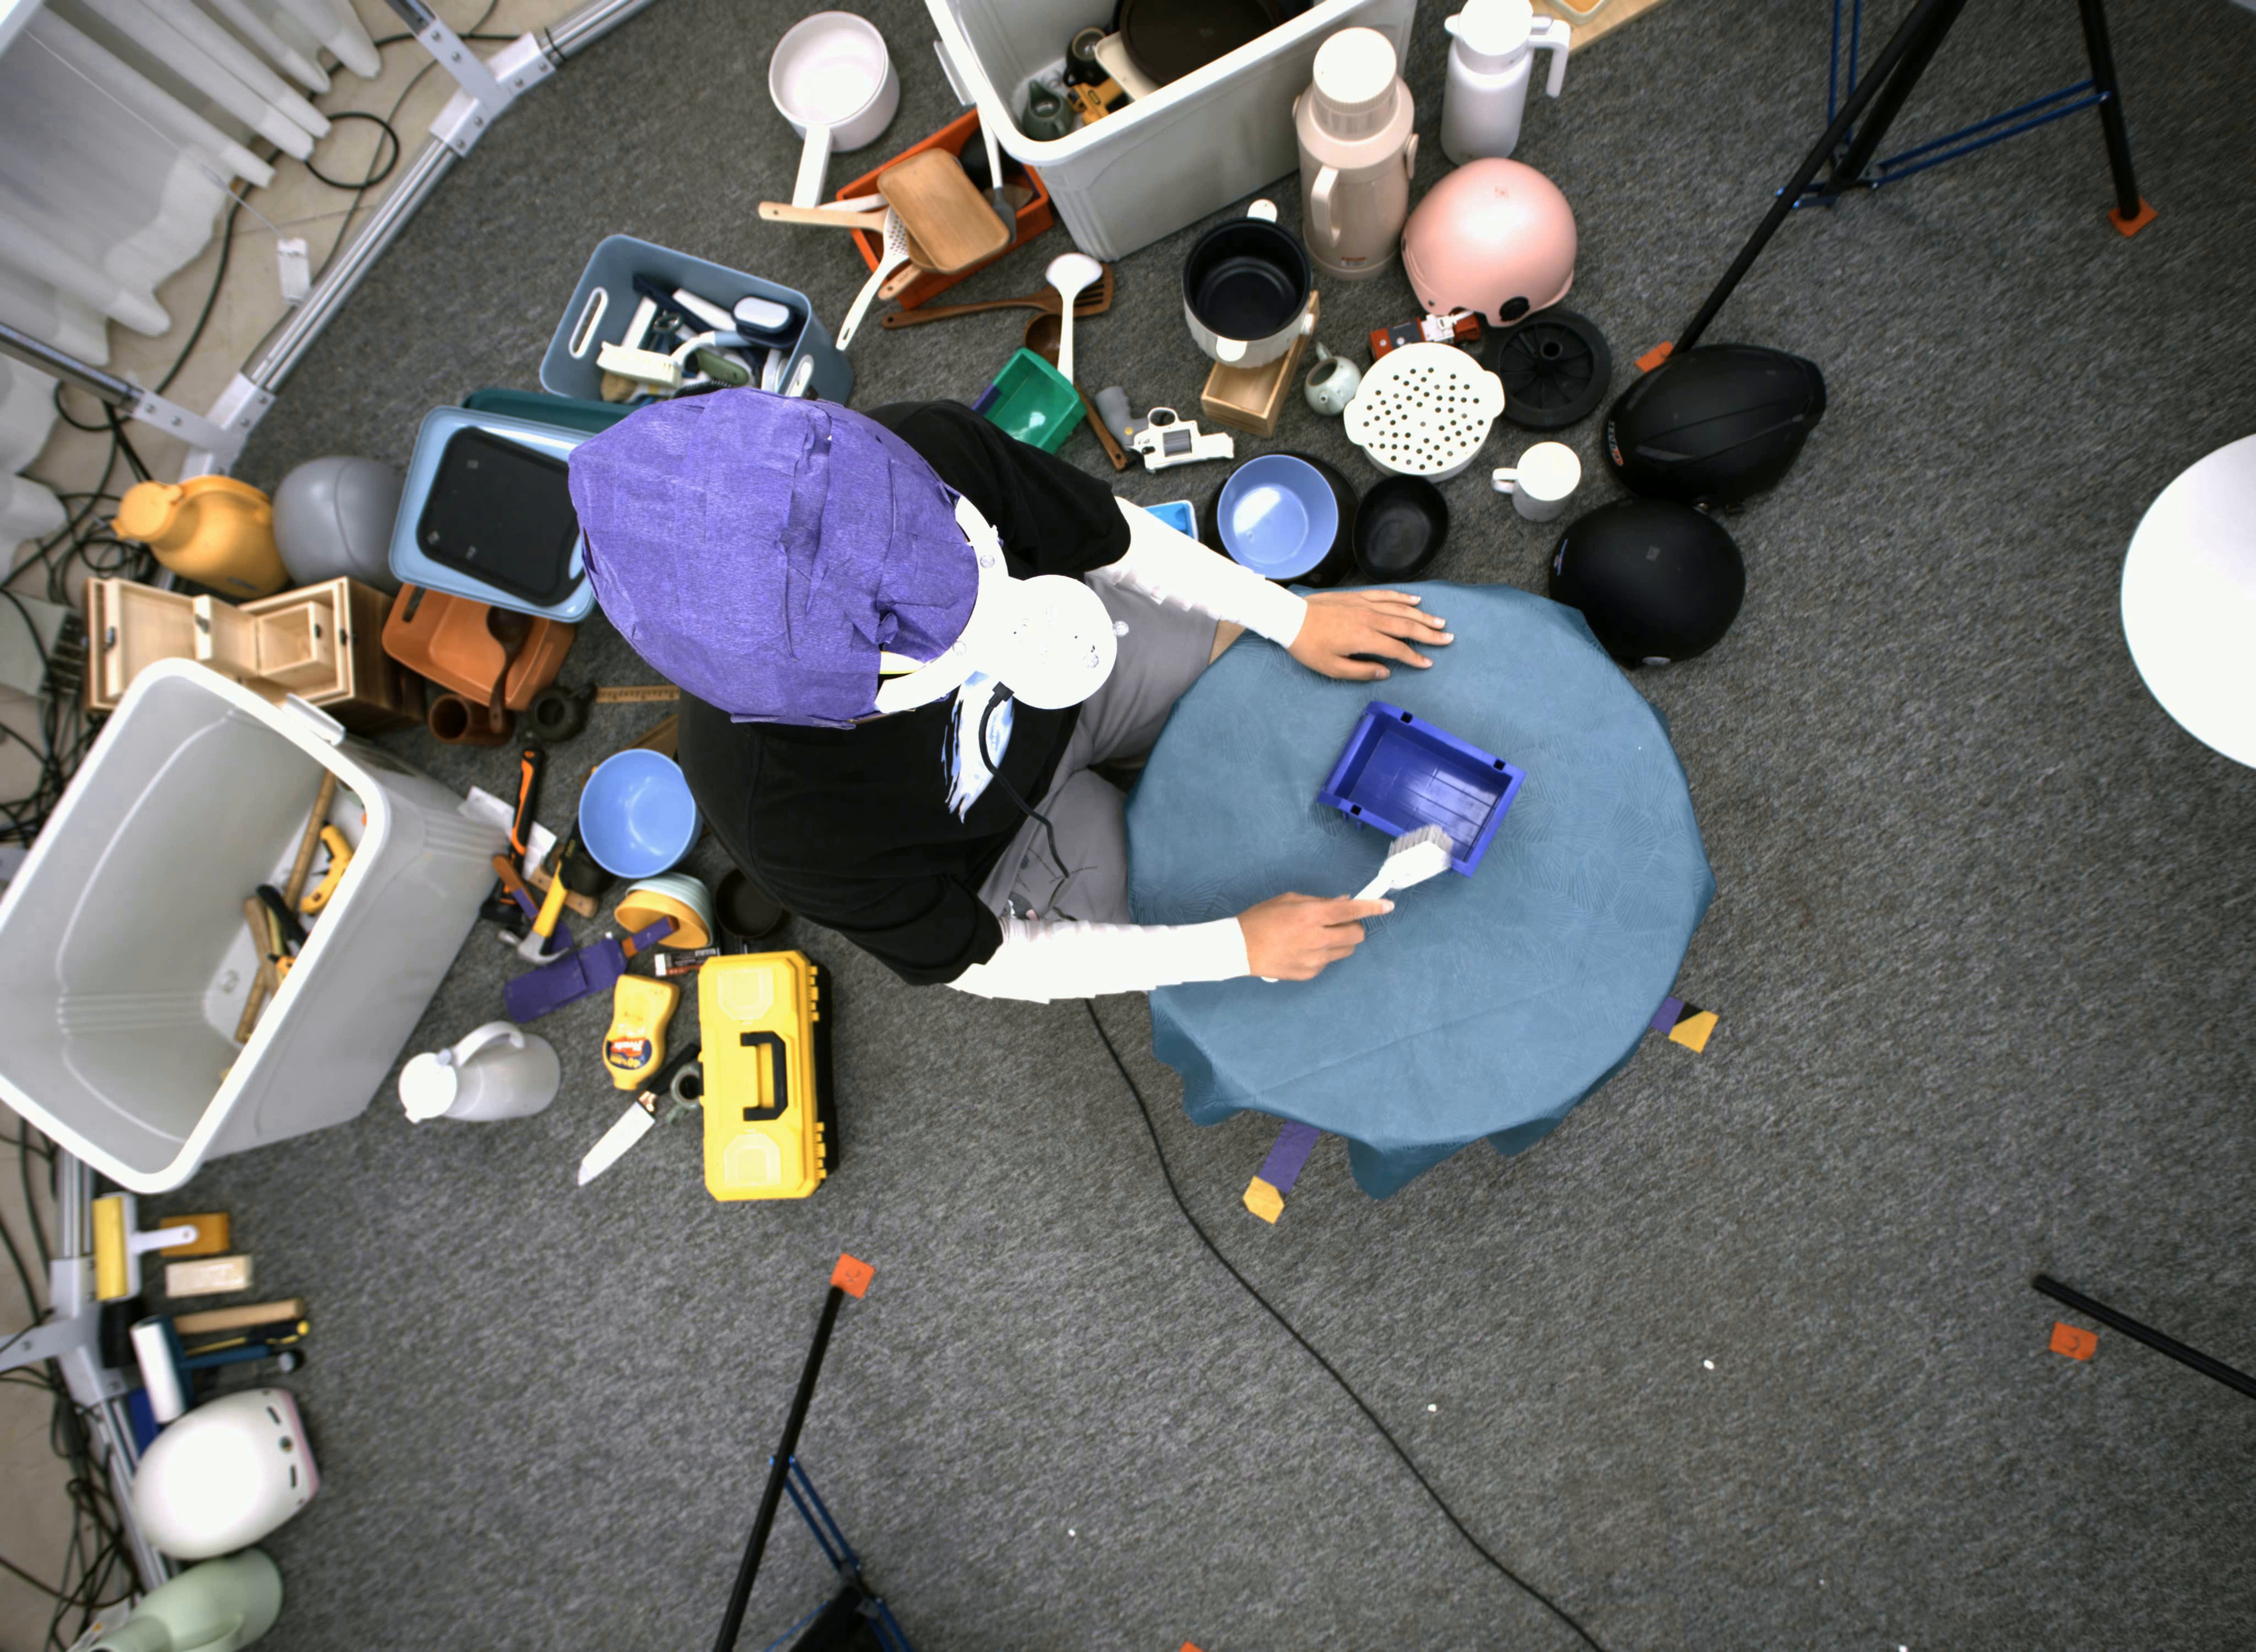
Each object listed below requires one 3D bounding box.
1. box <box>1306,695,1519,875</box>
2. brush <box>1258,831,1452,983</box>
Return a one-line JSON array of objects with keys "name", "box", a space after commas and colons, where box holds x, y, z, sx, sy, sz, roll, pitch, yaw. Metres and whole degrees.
[{"name": "box", "box": [0.289, -0.043, 1.420, 0.179, 0.082, 0.125, 30, 92, 10]}, {"name": "brush", "box": [0.224, 0.081, 1.394, 0.034, 0.049, 0.248, 37, 124, -21]}]
